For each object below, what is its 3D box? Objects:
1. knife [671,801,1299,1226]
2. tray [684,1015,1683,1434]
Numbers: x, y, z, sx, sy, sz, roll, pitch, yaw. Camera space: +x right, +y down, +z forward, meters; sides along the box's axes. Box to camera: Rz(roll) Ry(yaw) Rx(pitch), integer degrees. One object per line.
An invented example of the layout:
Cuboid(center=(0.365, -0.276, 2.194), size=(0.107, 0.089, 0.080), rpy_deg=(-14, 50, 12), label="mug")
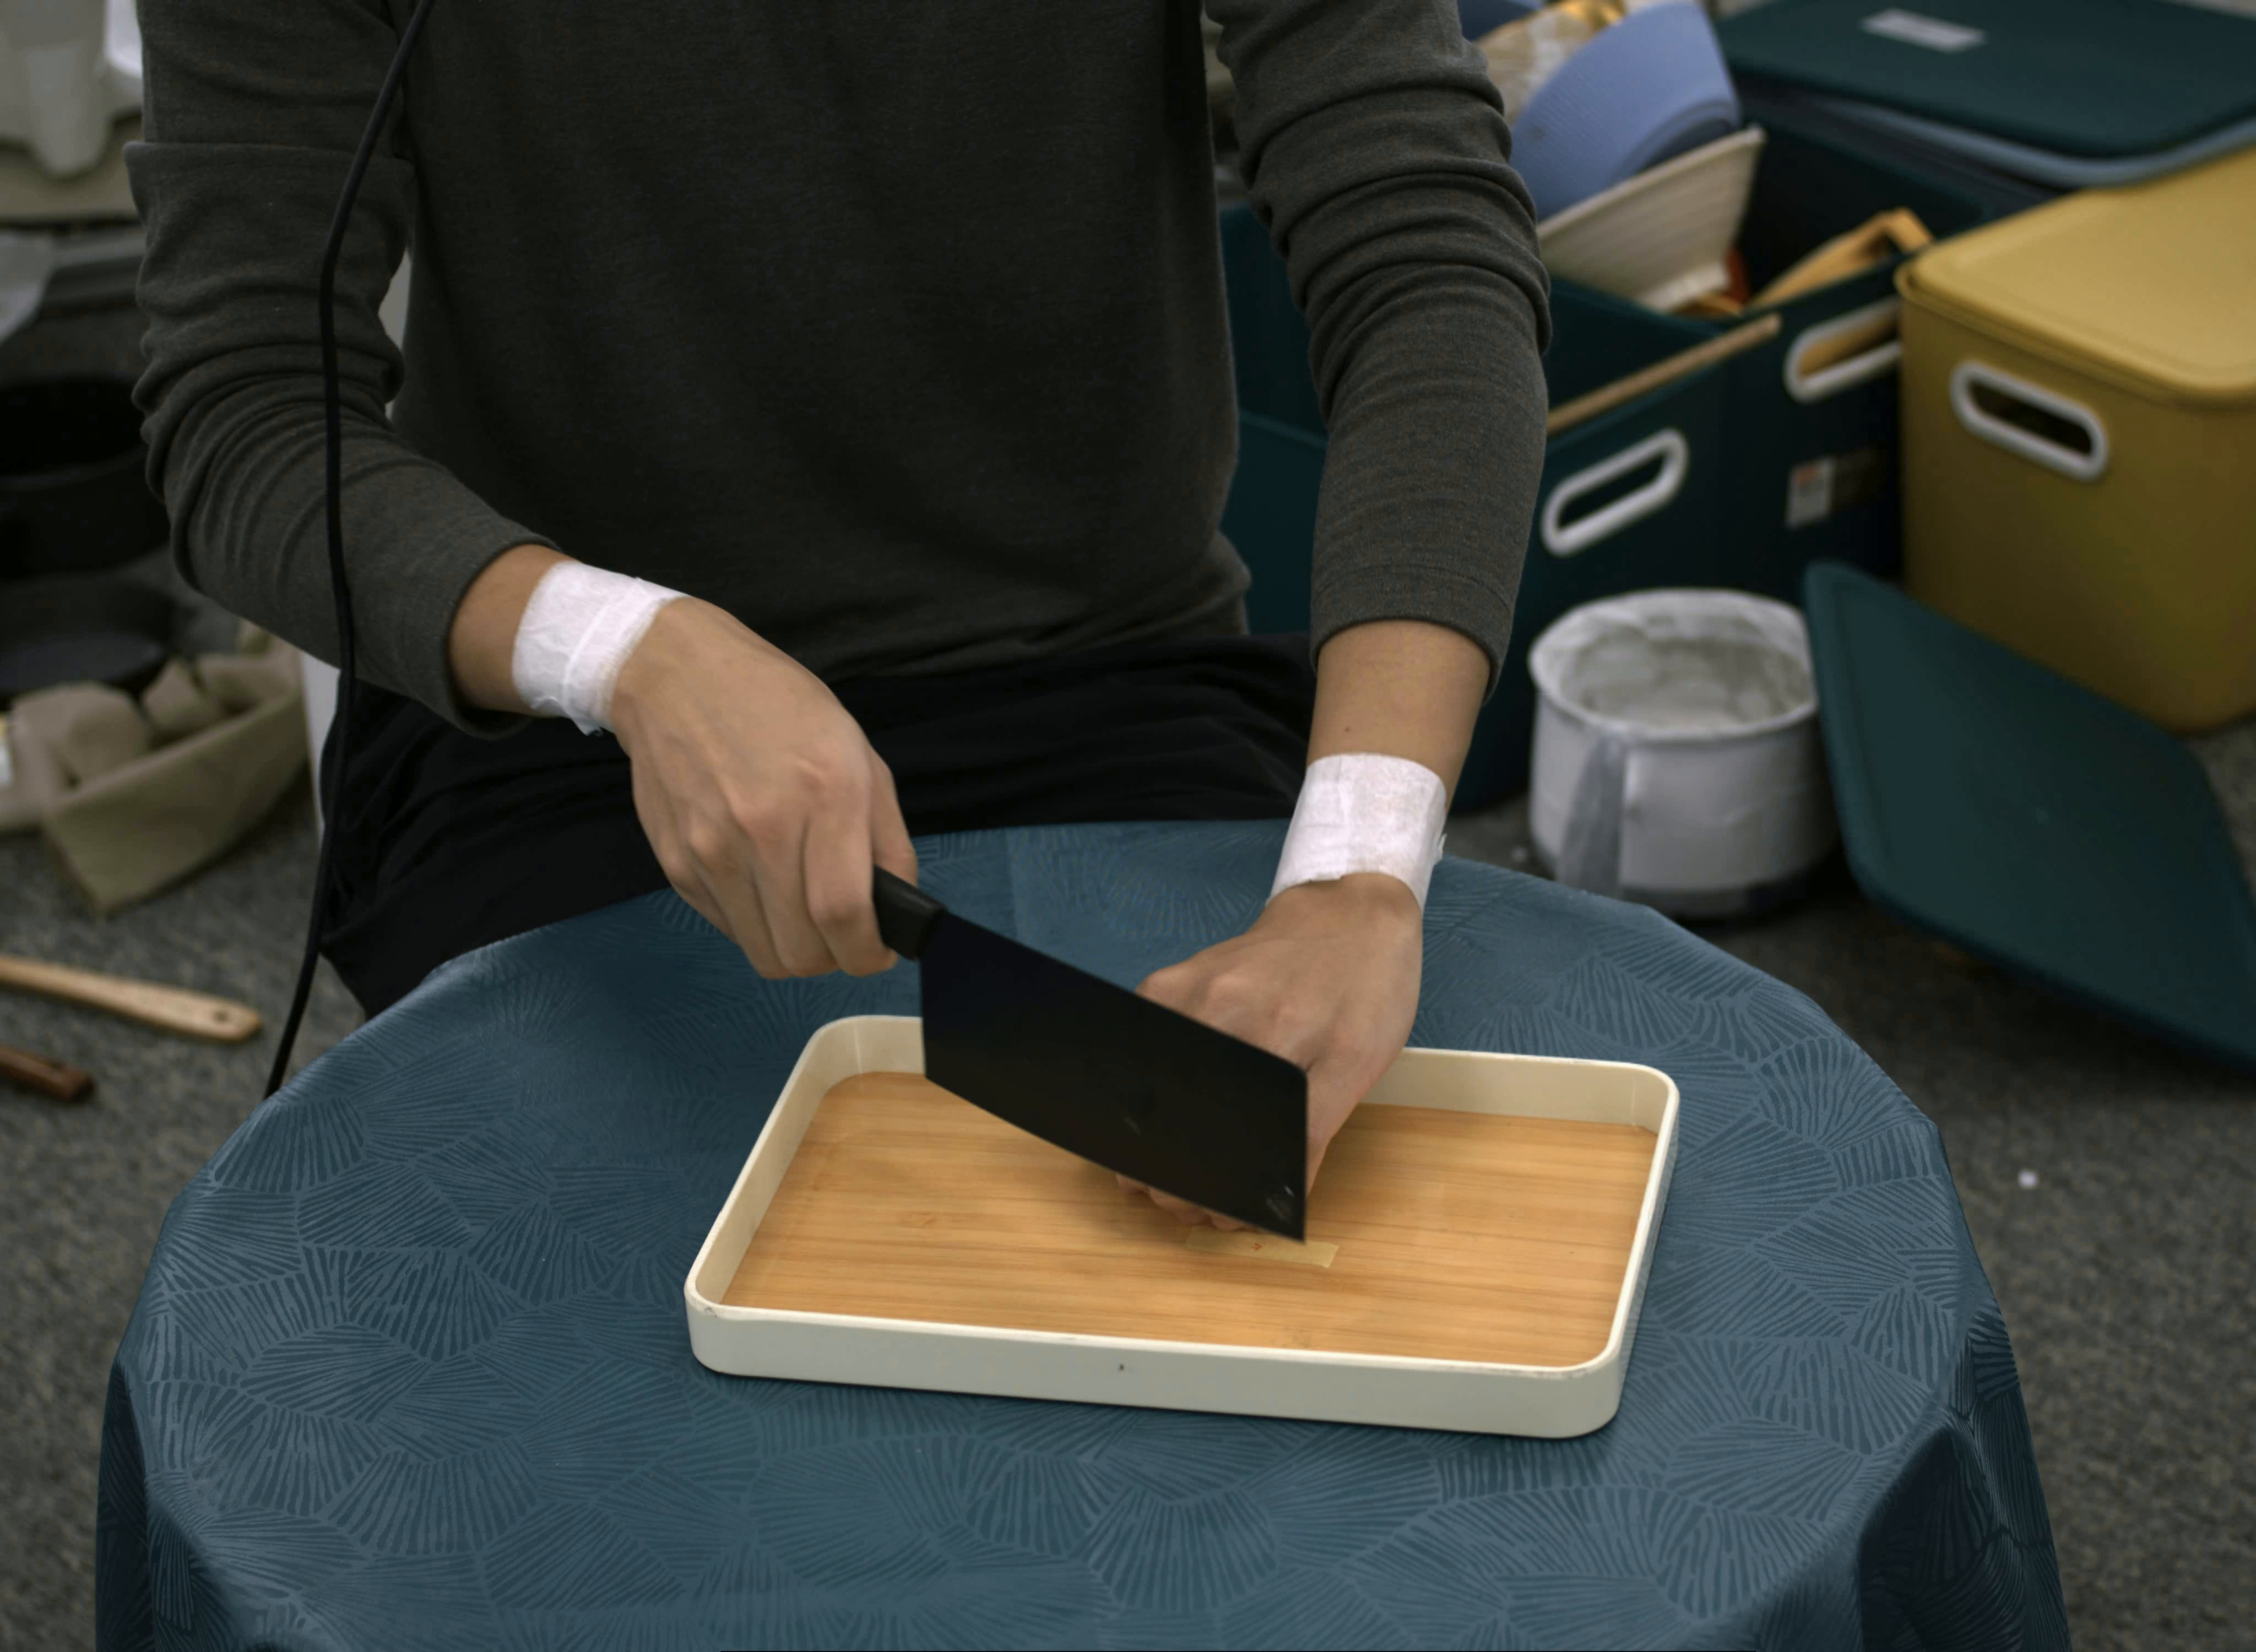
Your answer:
Cuboid(center=(-0.049, 0.055, 1.816), size=(0.021, 0.080, 0.302), rpy_deg=(-17, 31, -40), label="knife")
Cuboid(center=(0.021, 0.126, 1.821), size=(0.298, 0.027, 0.195), rpy_deg=(3, 28, 11), label="tray")
